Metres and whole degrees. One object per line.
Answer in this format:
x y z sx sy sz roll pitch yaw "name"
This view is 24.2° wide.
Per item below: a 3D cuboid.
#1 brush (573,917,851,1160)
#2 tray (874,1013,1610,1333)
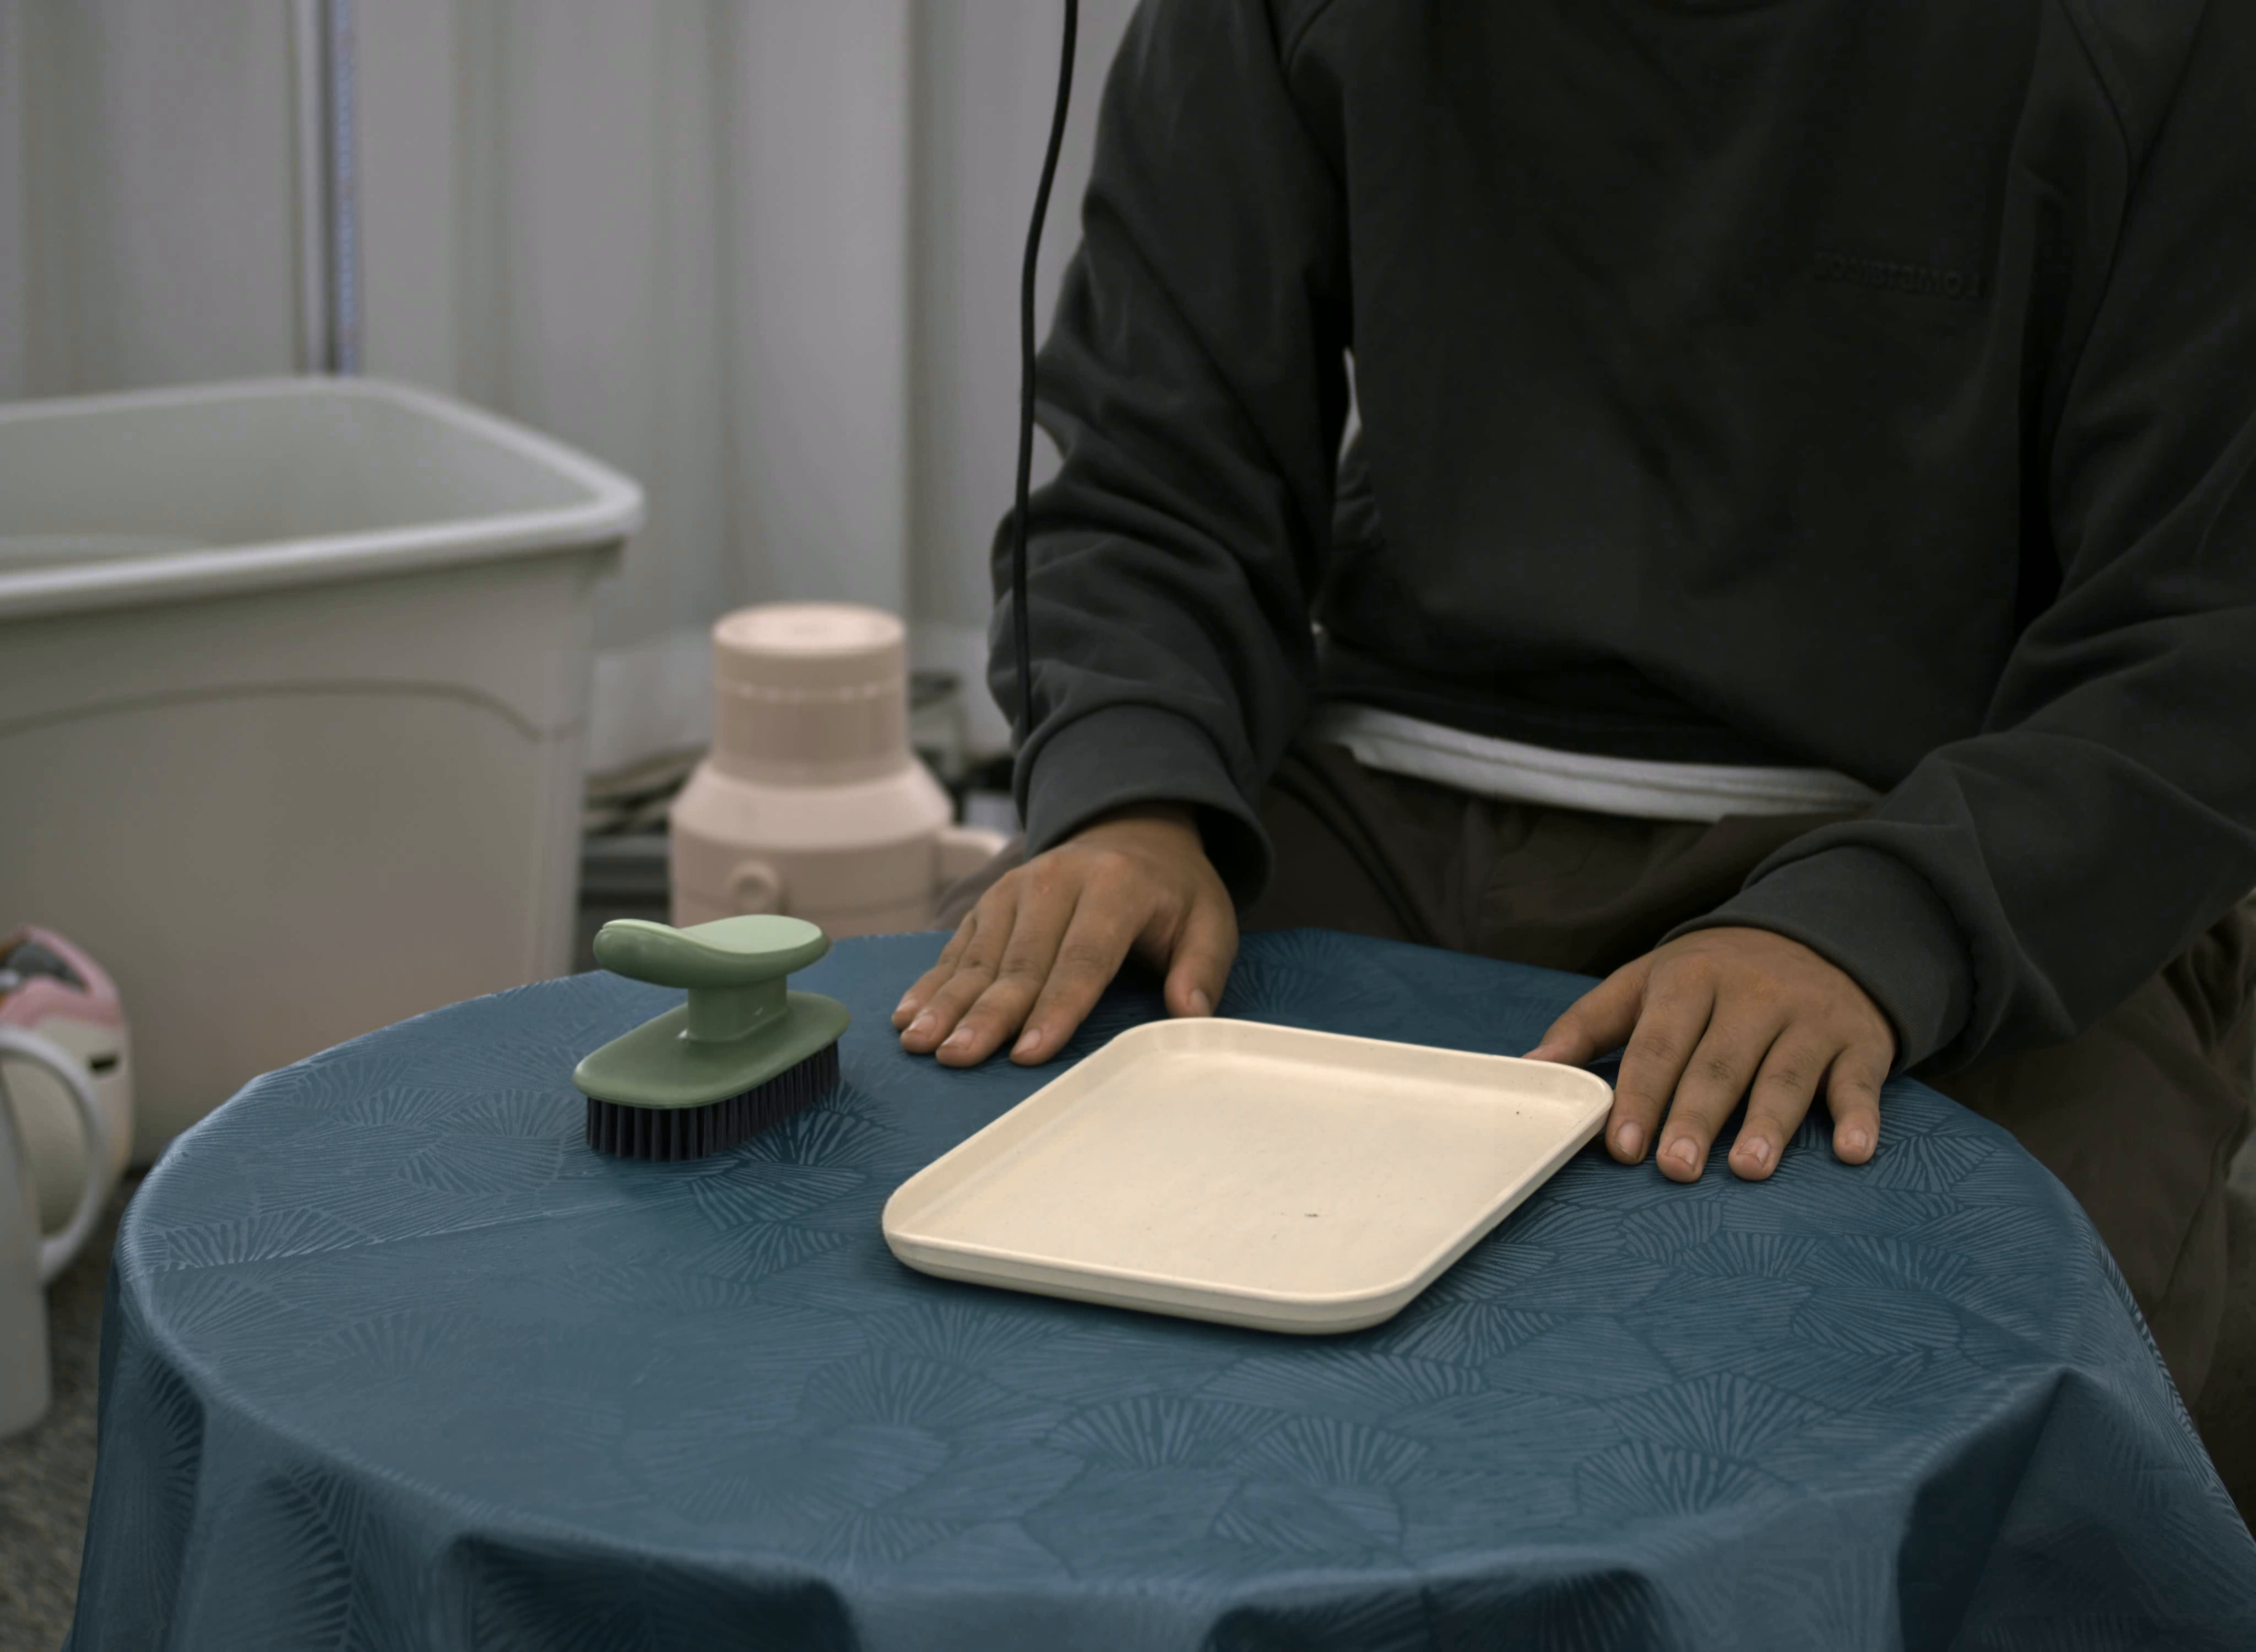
-0.133 0.066 1.688 0.059 0.076 0.124 9 4 23 "brush"
0.039 0.105 1.620 0.169 0.017 0.240 8 17 22 "tray"
